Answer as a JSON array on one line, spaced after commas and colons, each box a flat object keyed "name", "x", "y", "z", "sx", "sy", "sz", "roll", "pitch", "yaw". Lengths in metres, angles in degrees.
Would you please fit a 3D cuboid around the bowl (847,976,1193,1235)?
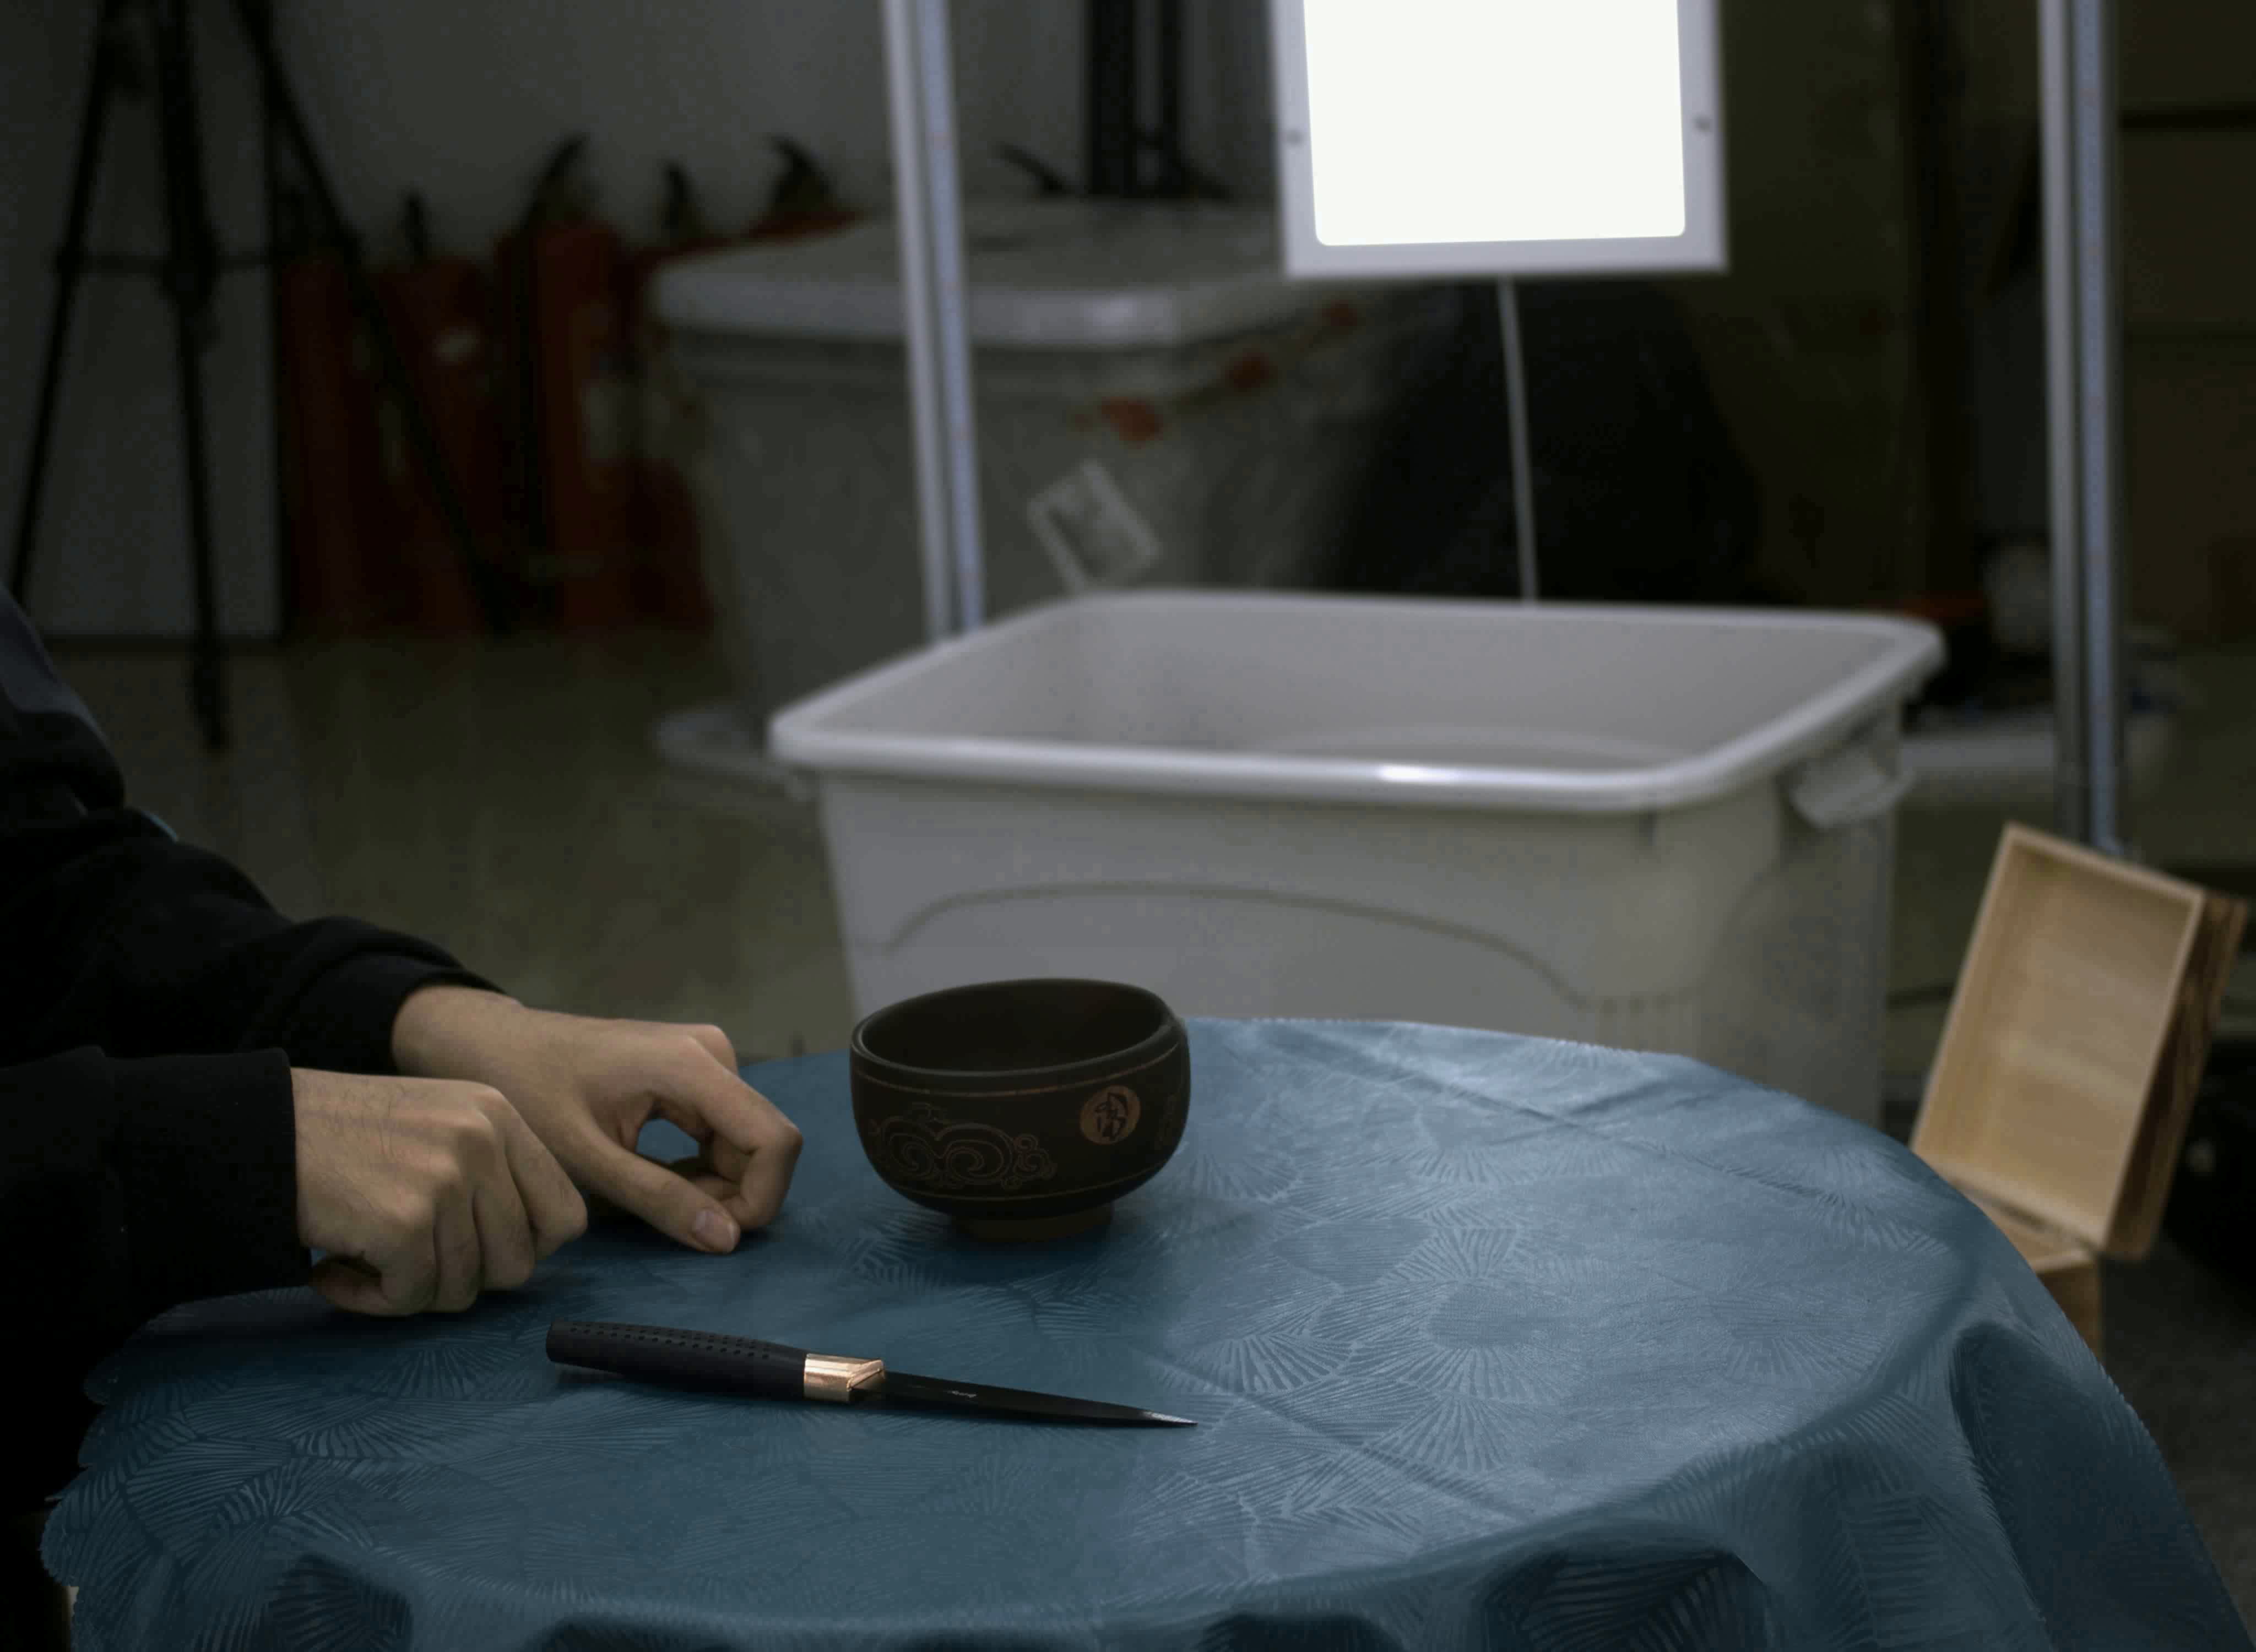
[{"name": "bowl", "x": -0.035, "y": 0.098, "z": 1.868, "sx": 0.118, "sy": 0.070, "sz": 0.118, "roll": -5, "pitch": 12, "yaw": 0}]

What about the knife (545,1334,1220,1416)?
[{"name": "knife", "x": -0.078, "y": 0.173, "z": 1.715, "sx": 0.229, "sy": 0.017, "sz": 0.026, "roll": 3, "pitch": 8, "yaw": 24}]
